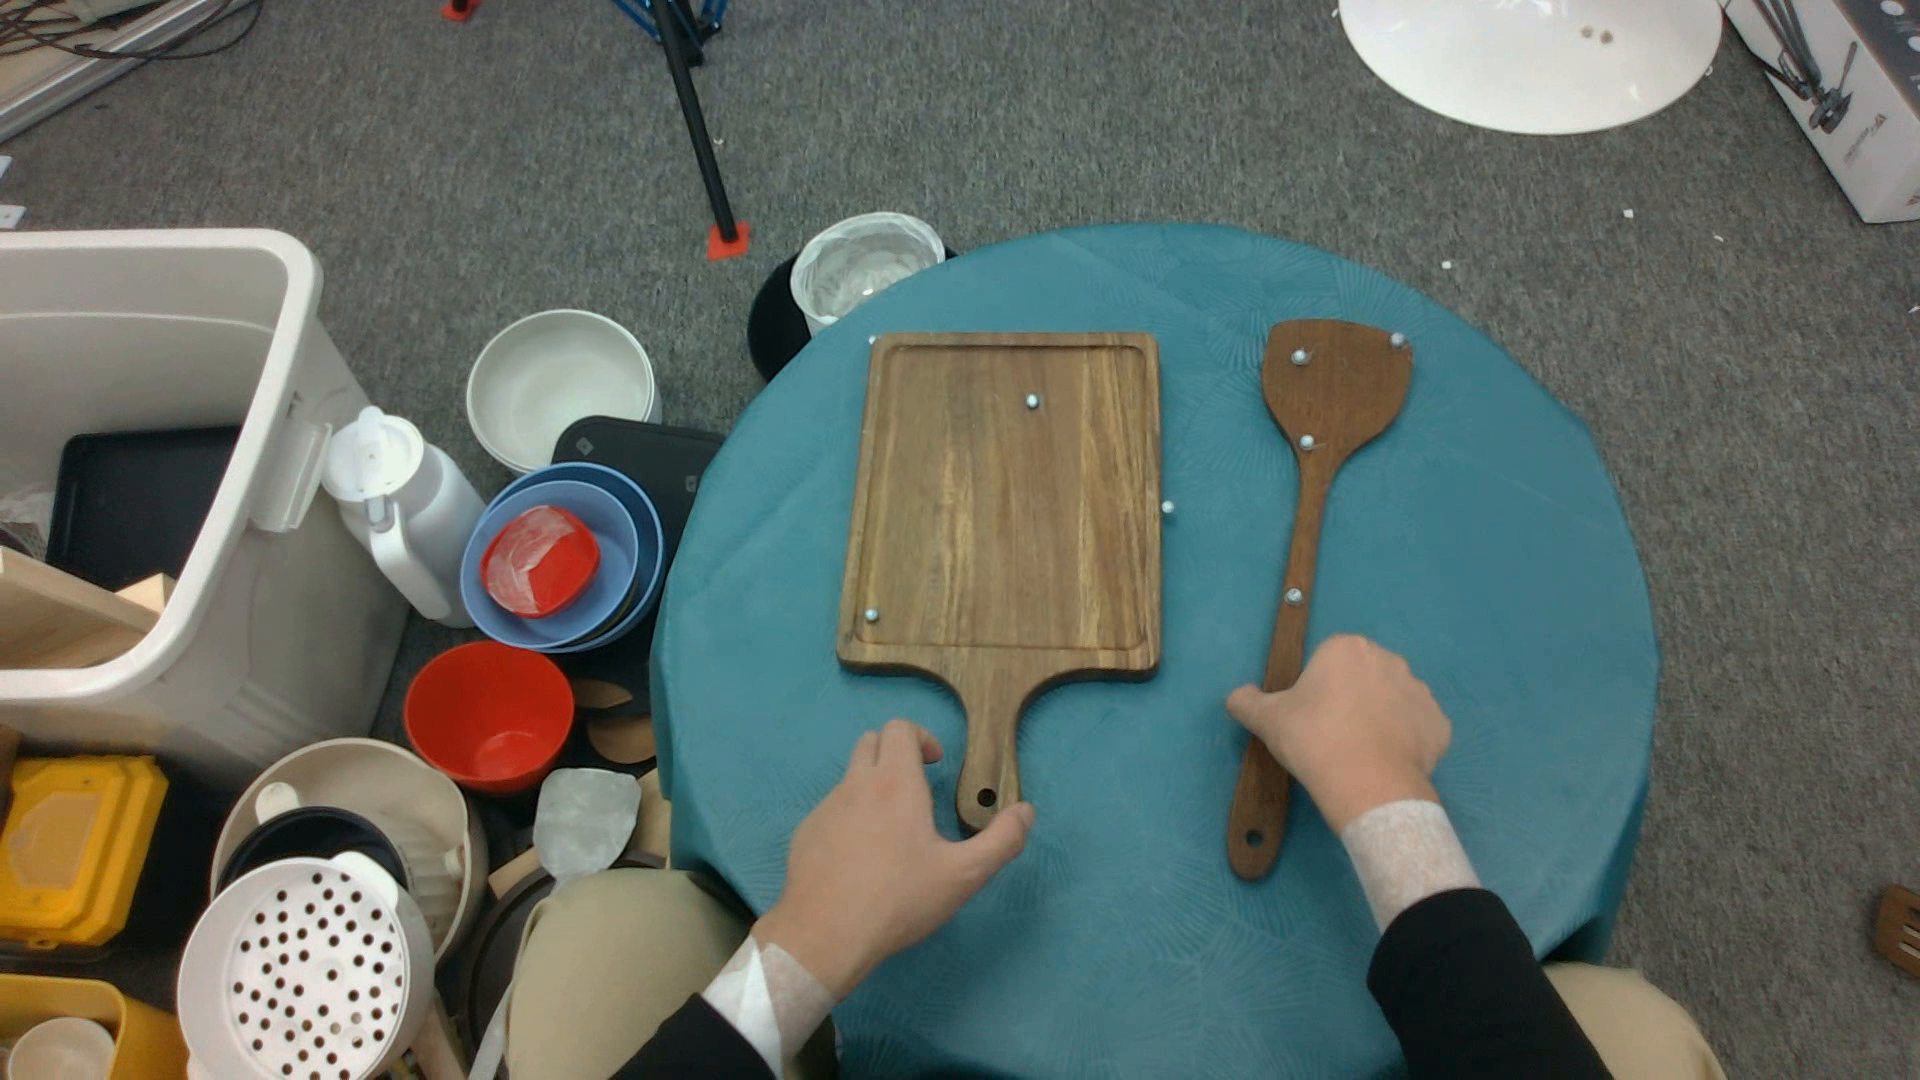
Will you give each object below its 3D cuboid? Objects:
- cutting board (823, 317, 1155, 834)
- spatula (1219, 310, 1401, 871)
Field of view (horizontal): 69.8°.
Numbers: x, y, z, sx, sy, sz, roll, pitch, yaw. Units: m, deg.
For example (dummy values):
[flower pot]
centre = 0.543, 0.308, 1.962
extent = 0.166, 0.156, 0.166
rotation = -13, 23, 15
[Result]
[cutting board]
centre = 0.018, 0.007, 0.853
extent = 0.201, 0.023, 0.353
rotation = 0, 61, 5
[spatula]
centre = 0.201, 0.013, 0.838
extent = 0.096, 0.016, 0.387
rotation = 11, 62, 10
